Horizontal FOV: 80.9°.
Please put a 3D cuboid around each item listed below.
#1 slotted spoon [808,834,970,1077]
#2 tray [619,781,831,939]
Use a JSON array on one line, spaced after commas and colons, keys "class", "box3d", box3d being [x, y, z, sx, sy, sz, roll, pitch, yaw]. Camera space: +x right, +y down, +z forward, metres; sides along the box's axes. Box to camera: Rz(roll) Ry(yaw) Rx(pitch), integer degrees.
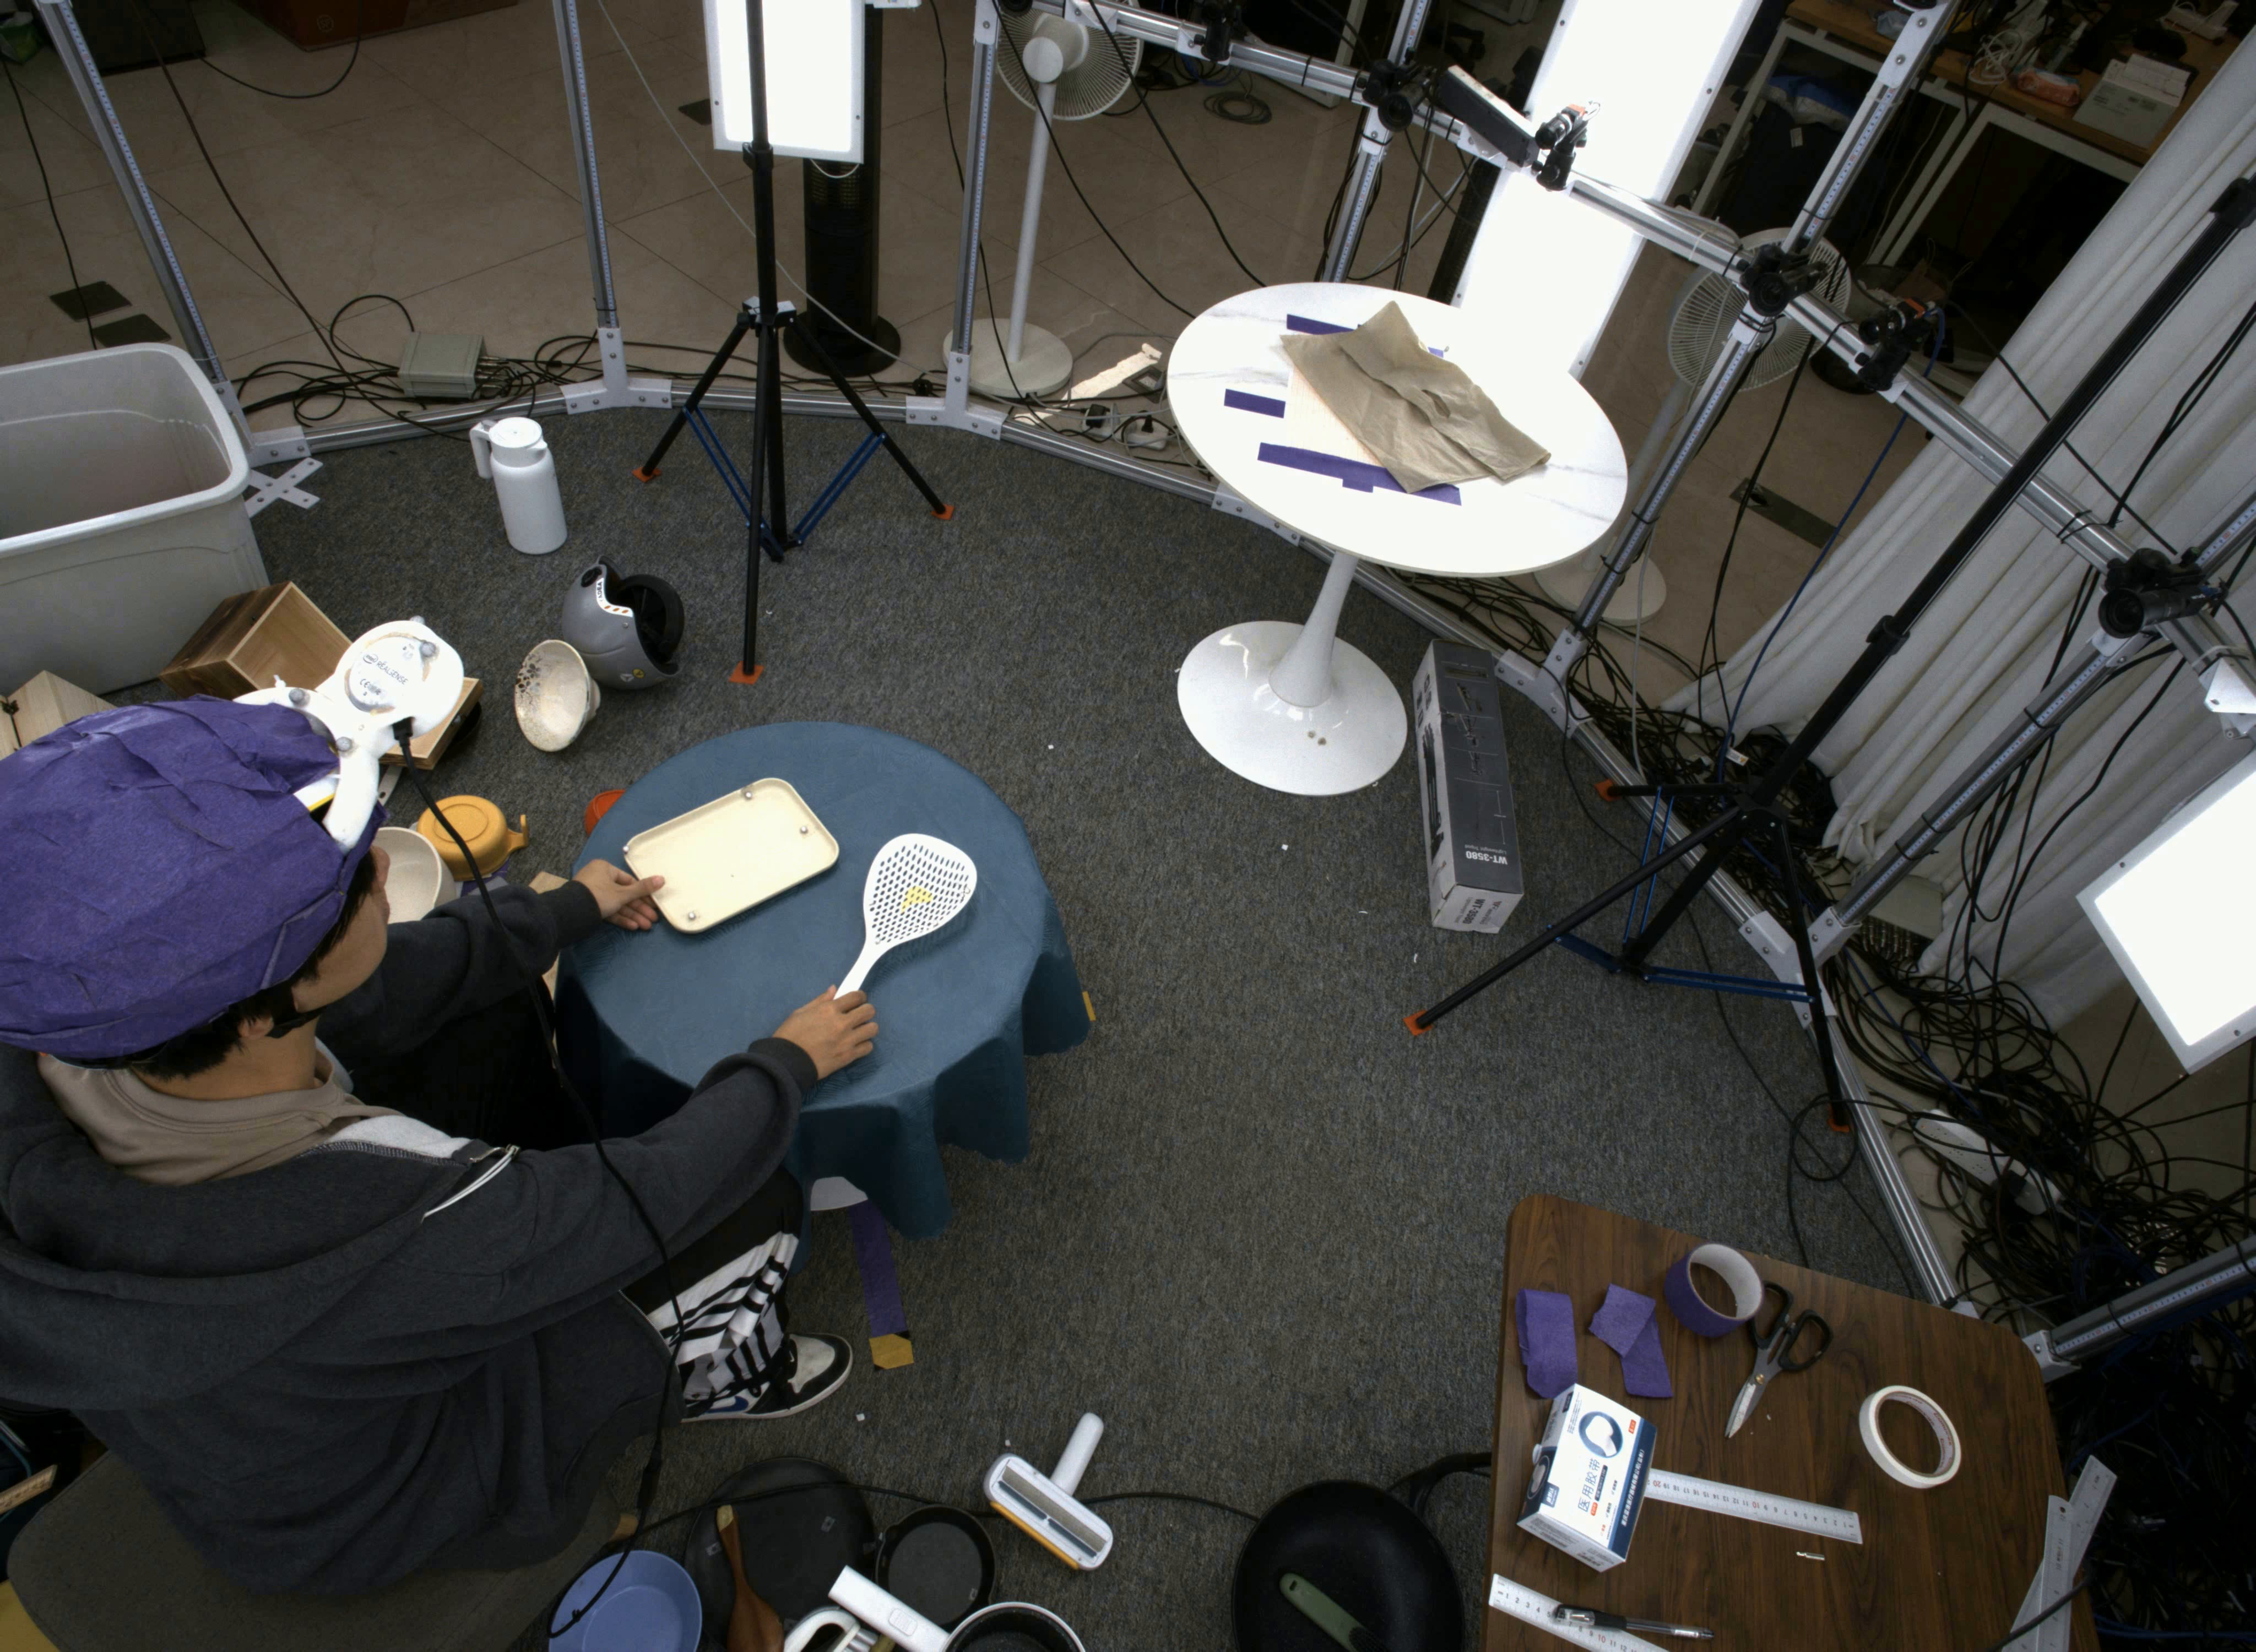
[{"class": "slotted spoon", "box3d": [-0.315, 0.153, 1.616, 0.135, 0.051, 0.345, 25, 52, 3]}, {"class": "tray", "box3d": [-0.517, 0.040, 1.659, 0.241, 0.018, 0.167, -29, 66, -32]}]
